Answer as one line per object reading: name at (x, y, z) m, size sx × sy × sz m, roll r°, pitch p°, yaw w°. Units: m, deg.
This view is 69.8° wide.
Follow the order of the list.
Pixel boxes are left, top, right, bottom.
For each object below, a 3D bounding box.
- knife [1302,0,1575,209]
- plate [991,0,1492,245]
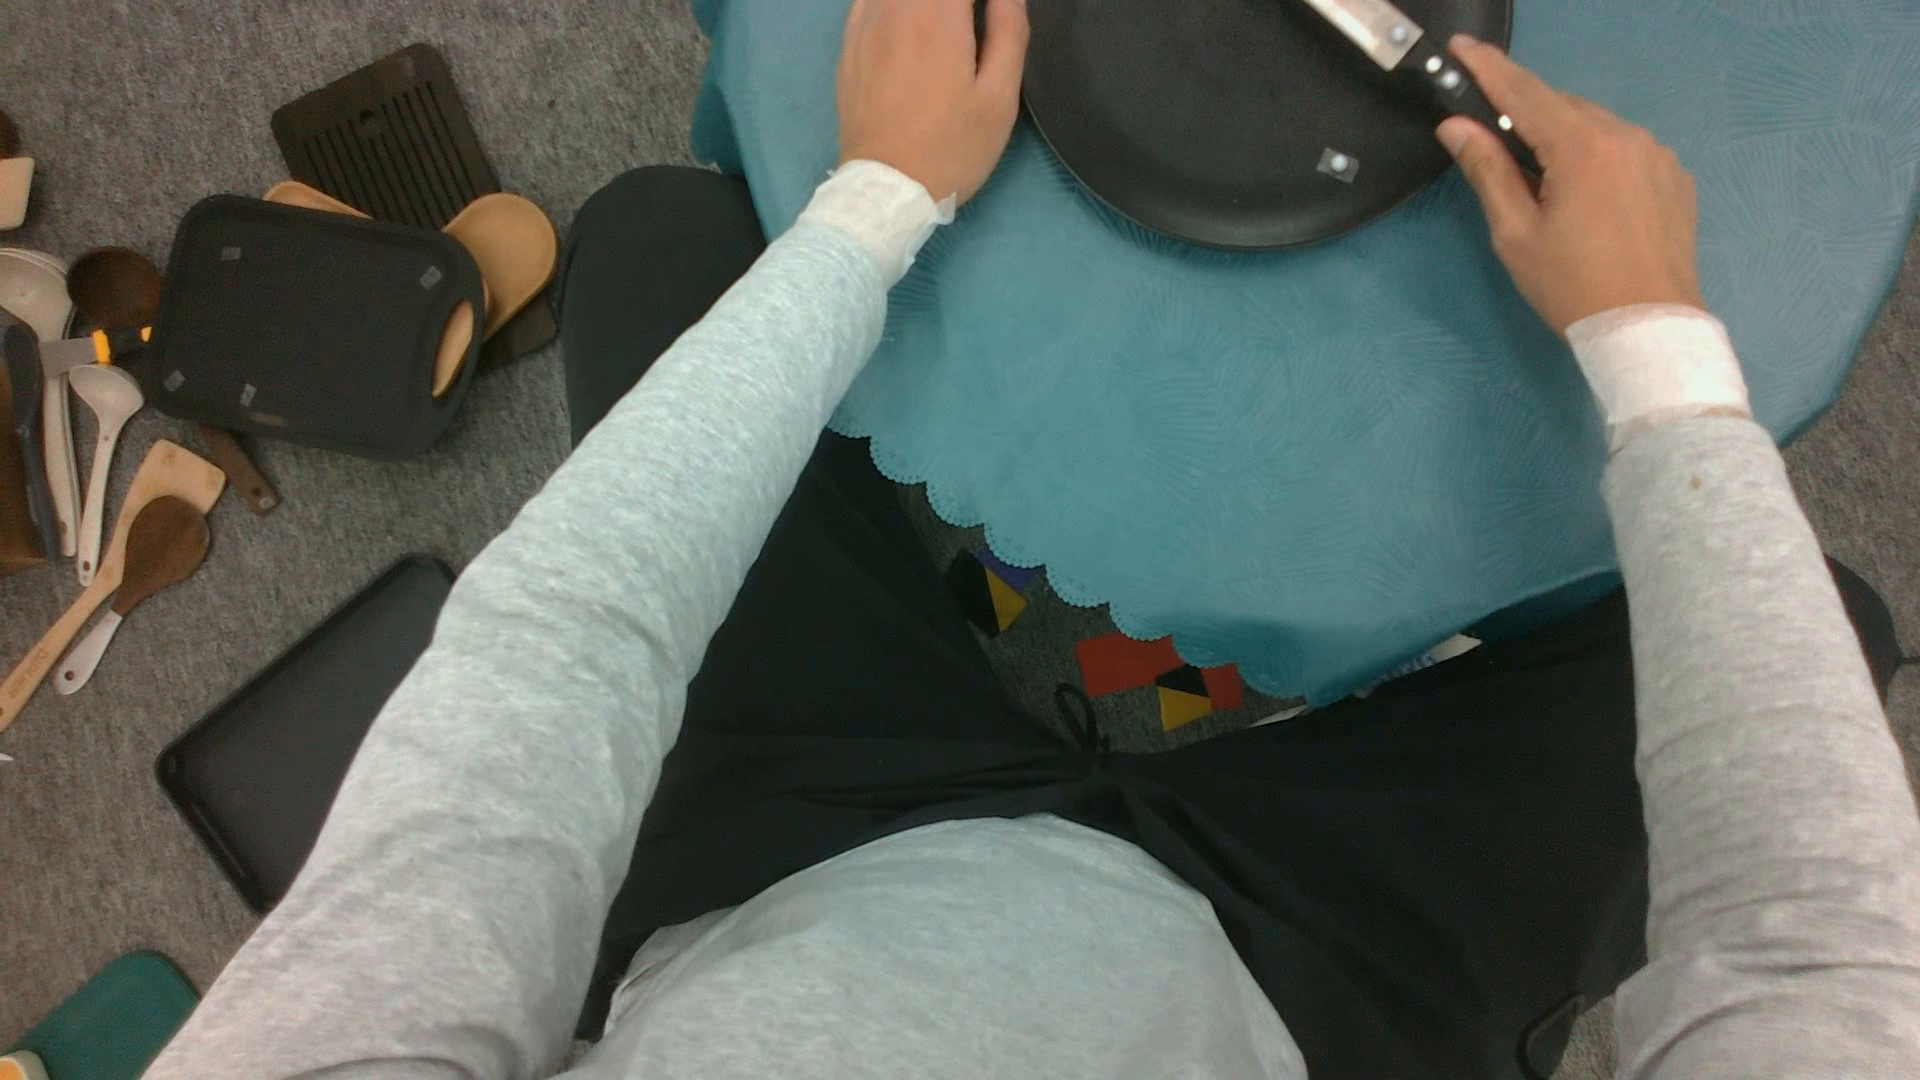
knife at (0.197, -0.240, 0.648) m, size 0.238 × 0.016 × 0.024 m, roll 44°, pitch 107°, yaw 8°
plate at (0.137, -0.265, 0.681) m, size 0.244 × 0.023 × 0.244 m, roll 0°, pitch 87°, yaw 2°
